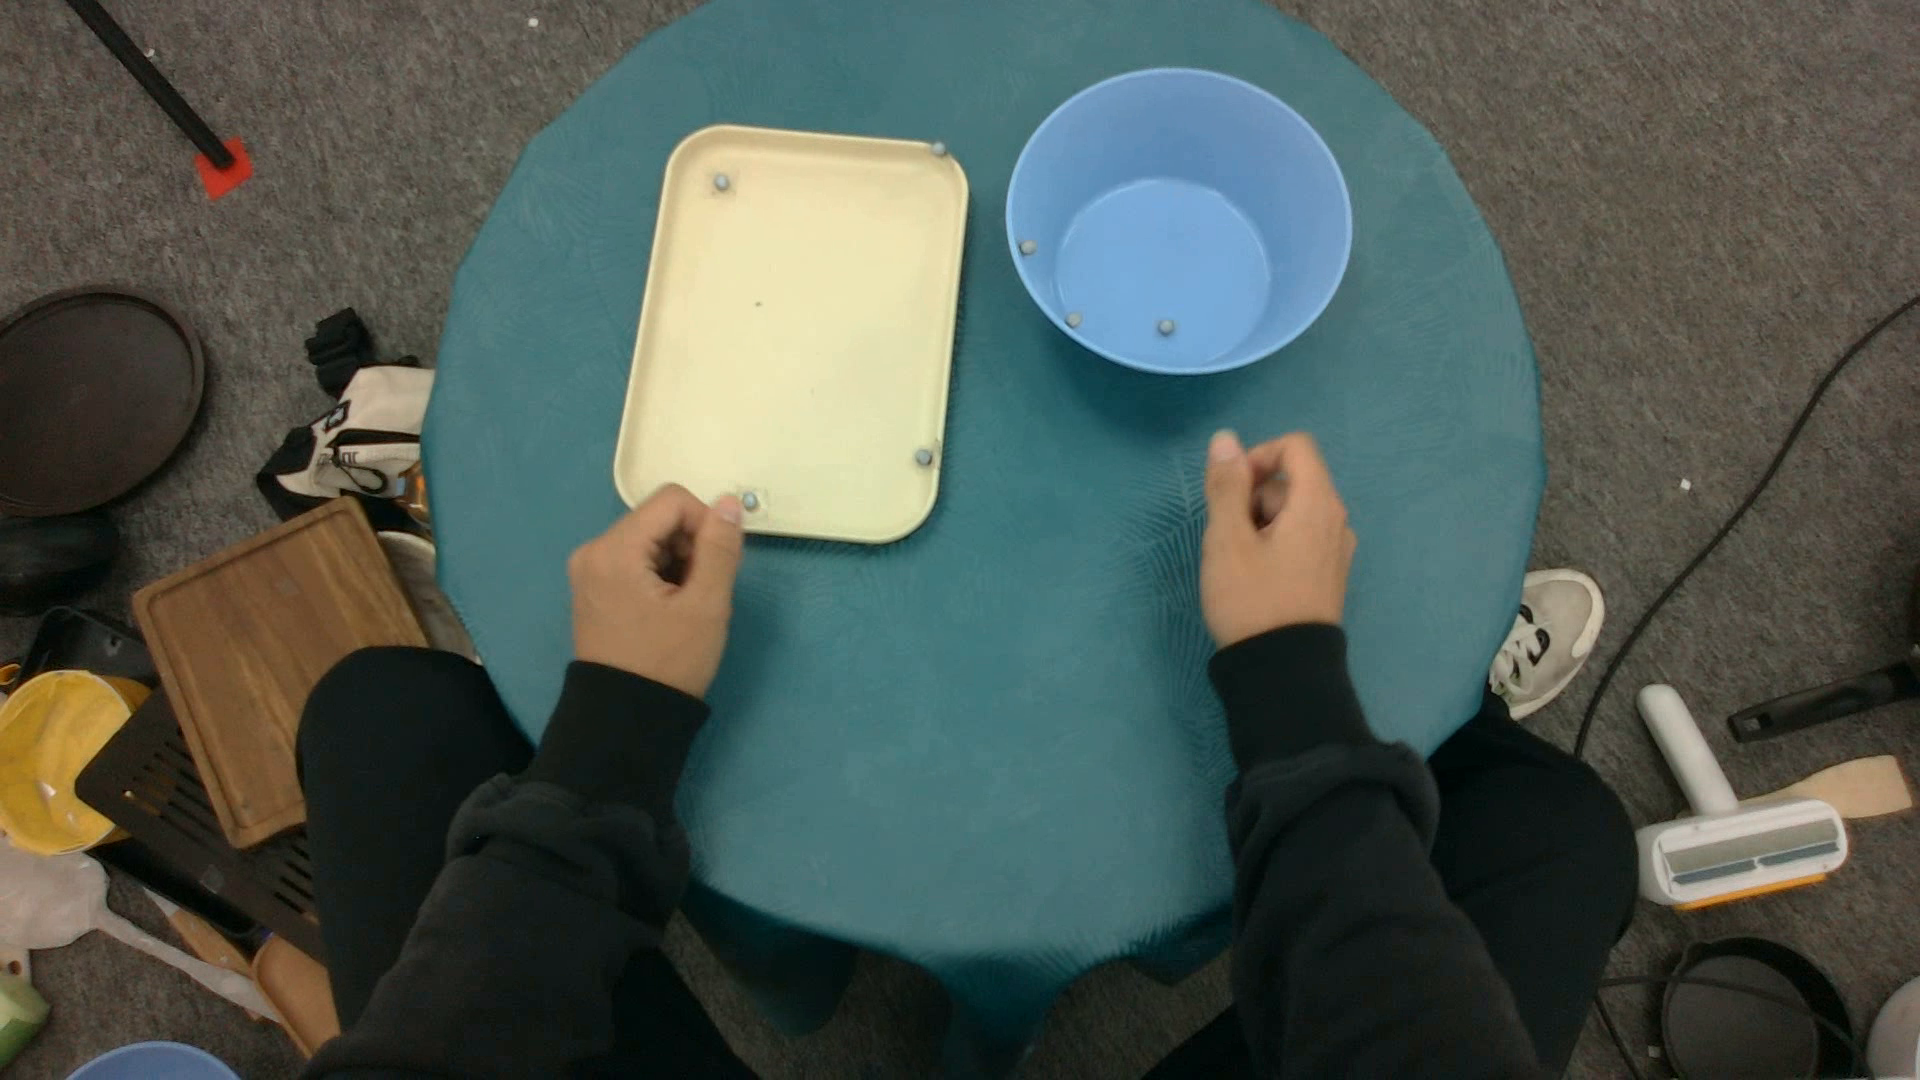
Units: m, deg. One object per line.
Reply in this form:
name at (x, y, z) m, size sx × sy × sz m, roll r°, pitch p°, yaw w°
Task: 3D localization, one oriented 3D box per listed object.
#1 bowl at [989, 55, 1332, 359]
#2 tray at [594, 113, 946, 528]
bowl at (0.103, -0.165, 0.735) m, size 0.176 × 0.070 × 0.176 m, roll 0°, pitch 72°, yaw 0°
tray at (-0.099, -0.122, 0.747) m, size 0.171 × 0.017 × 0.240 m, roll 5°, pitch 72°, yaw 1°
